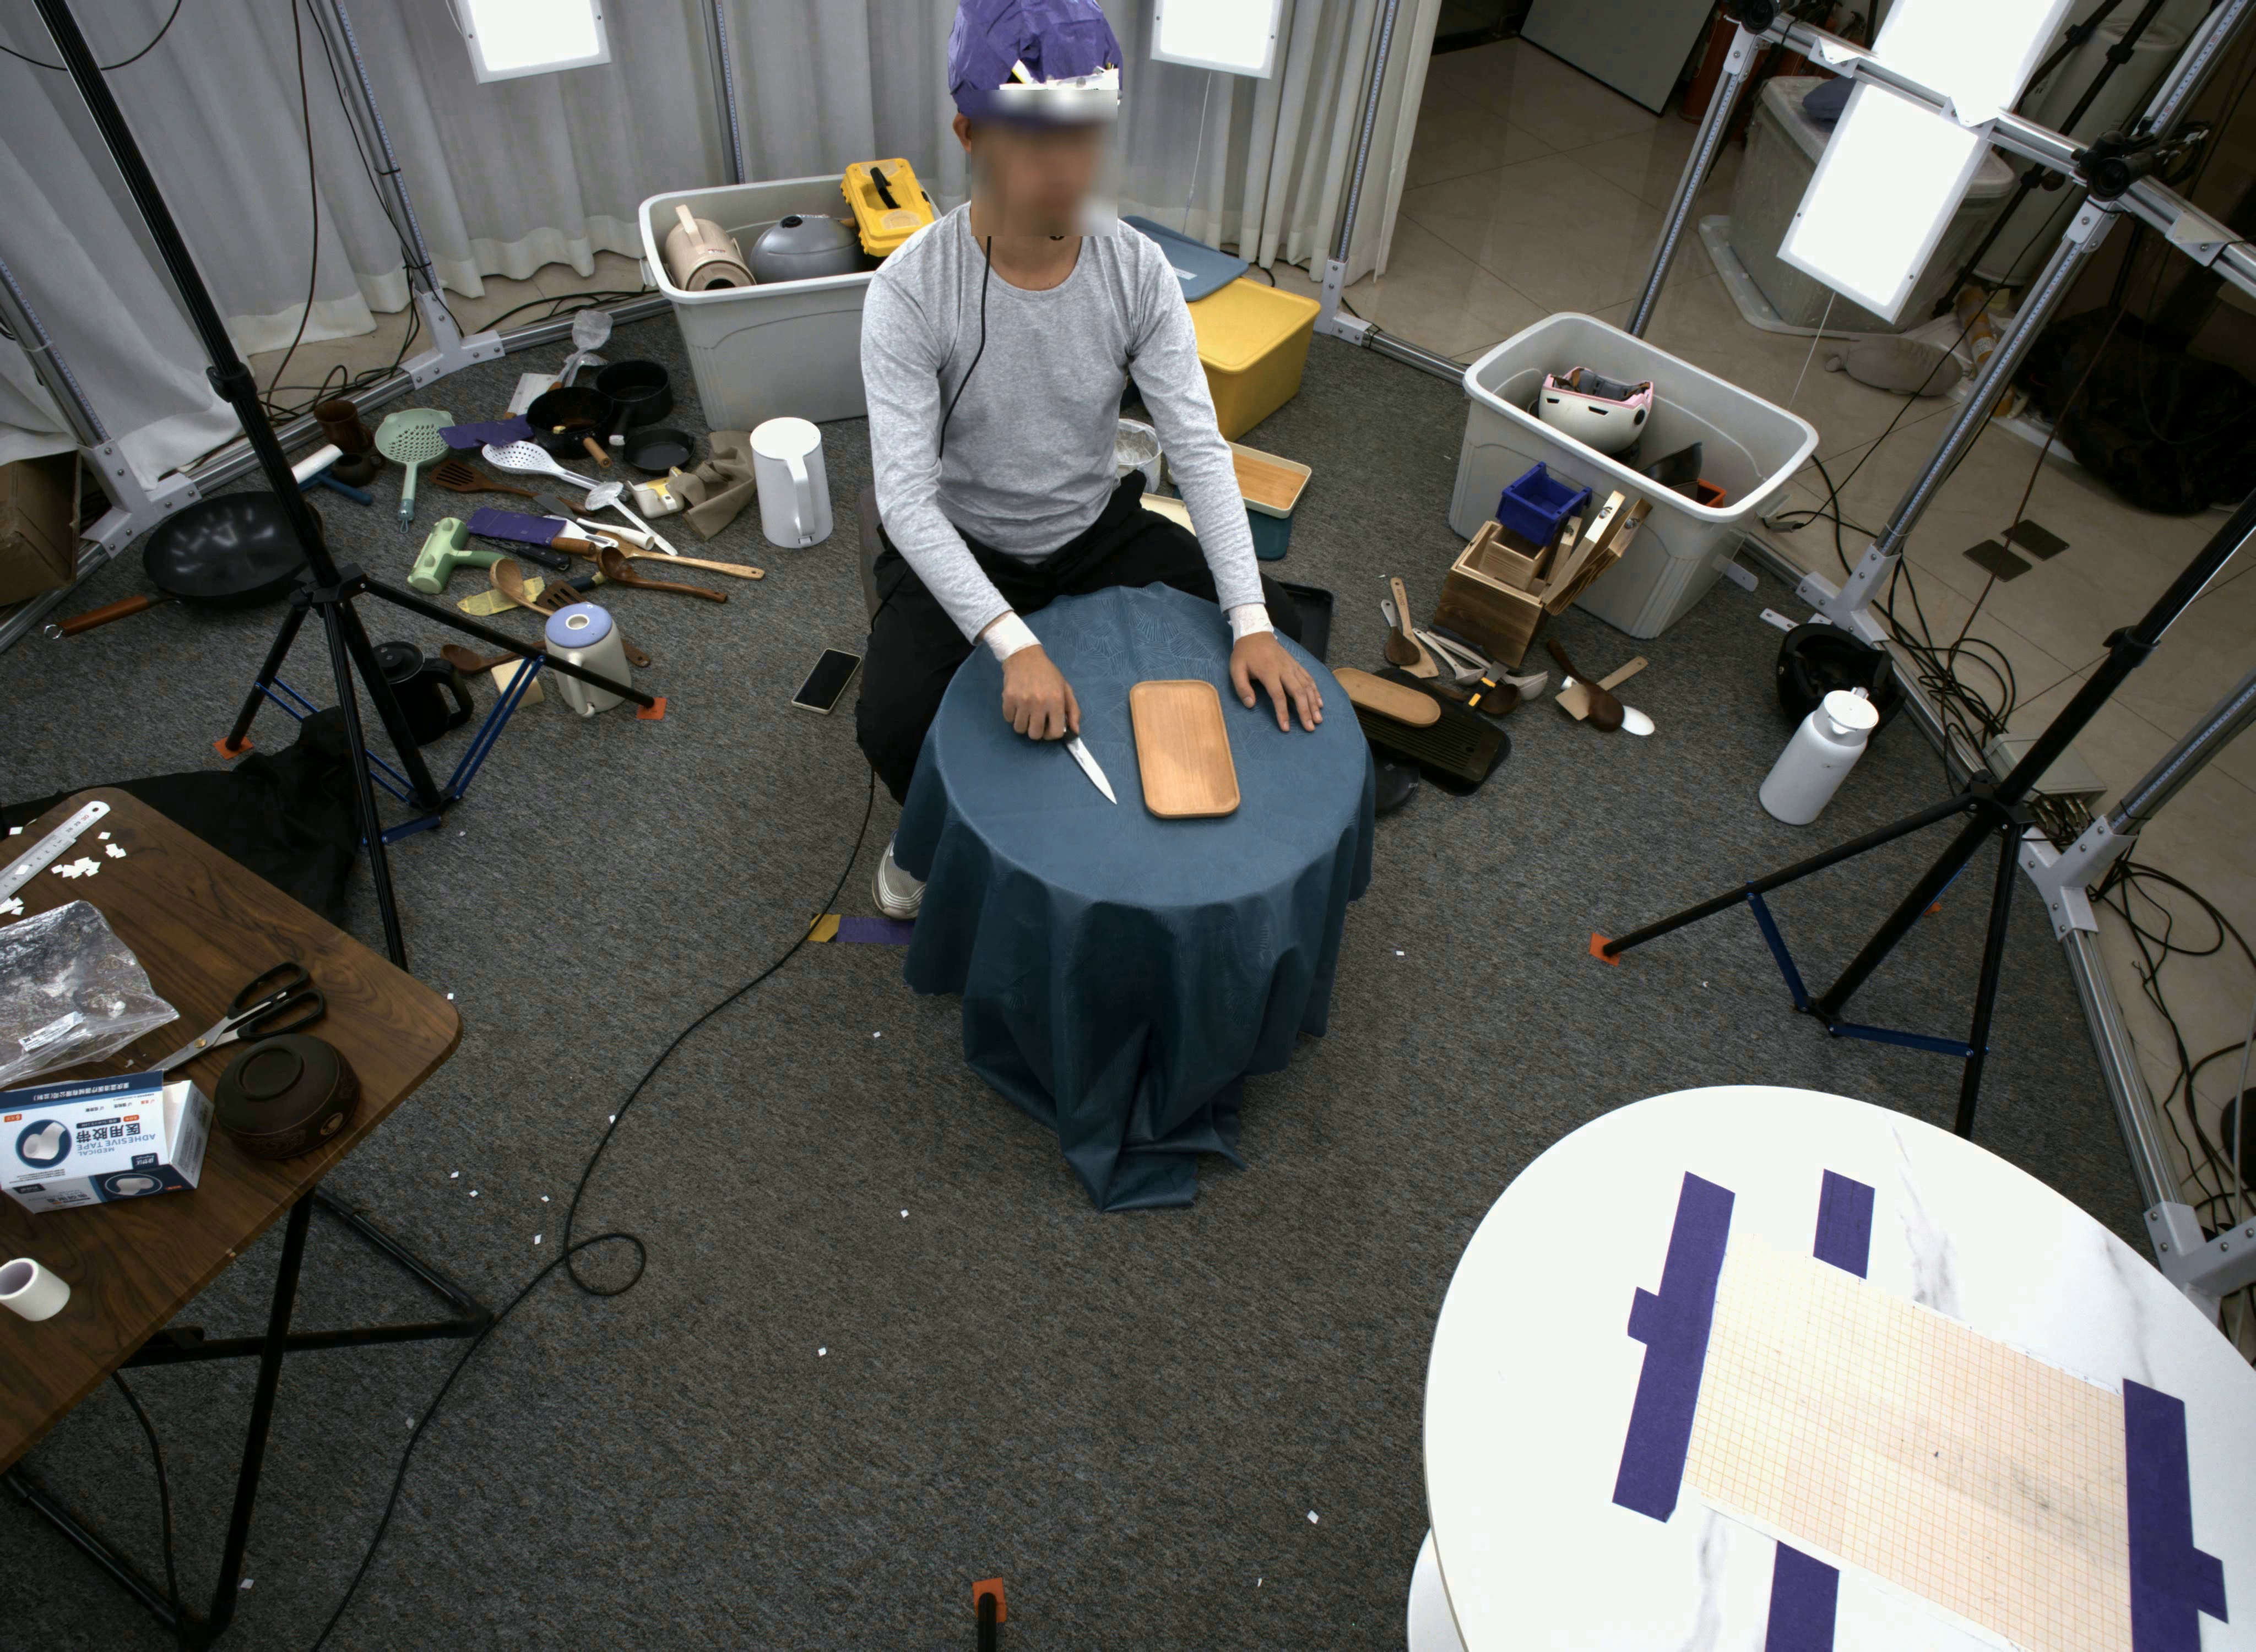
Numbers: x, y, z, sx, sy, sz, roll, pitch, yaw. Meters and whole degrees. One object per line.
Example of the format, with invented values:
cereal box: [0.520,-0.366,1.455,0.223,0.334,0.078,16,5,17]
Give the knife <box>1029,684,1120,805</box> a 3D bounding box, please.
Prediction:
knife: [-0.075,-0.111,1.751,0.024,0.016,0.243,-23,57,-22]

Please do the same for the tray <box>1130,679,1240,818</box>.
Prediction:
tray: [0.075,-0.109,1.756,0.130,0.022,0.257,0,48,-7]
